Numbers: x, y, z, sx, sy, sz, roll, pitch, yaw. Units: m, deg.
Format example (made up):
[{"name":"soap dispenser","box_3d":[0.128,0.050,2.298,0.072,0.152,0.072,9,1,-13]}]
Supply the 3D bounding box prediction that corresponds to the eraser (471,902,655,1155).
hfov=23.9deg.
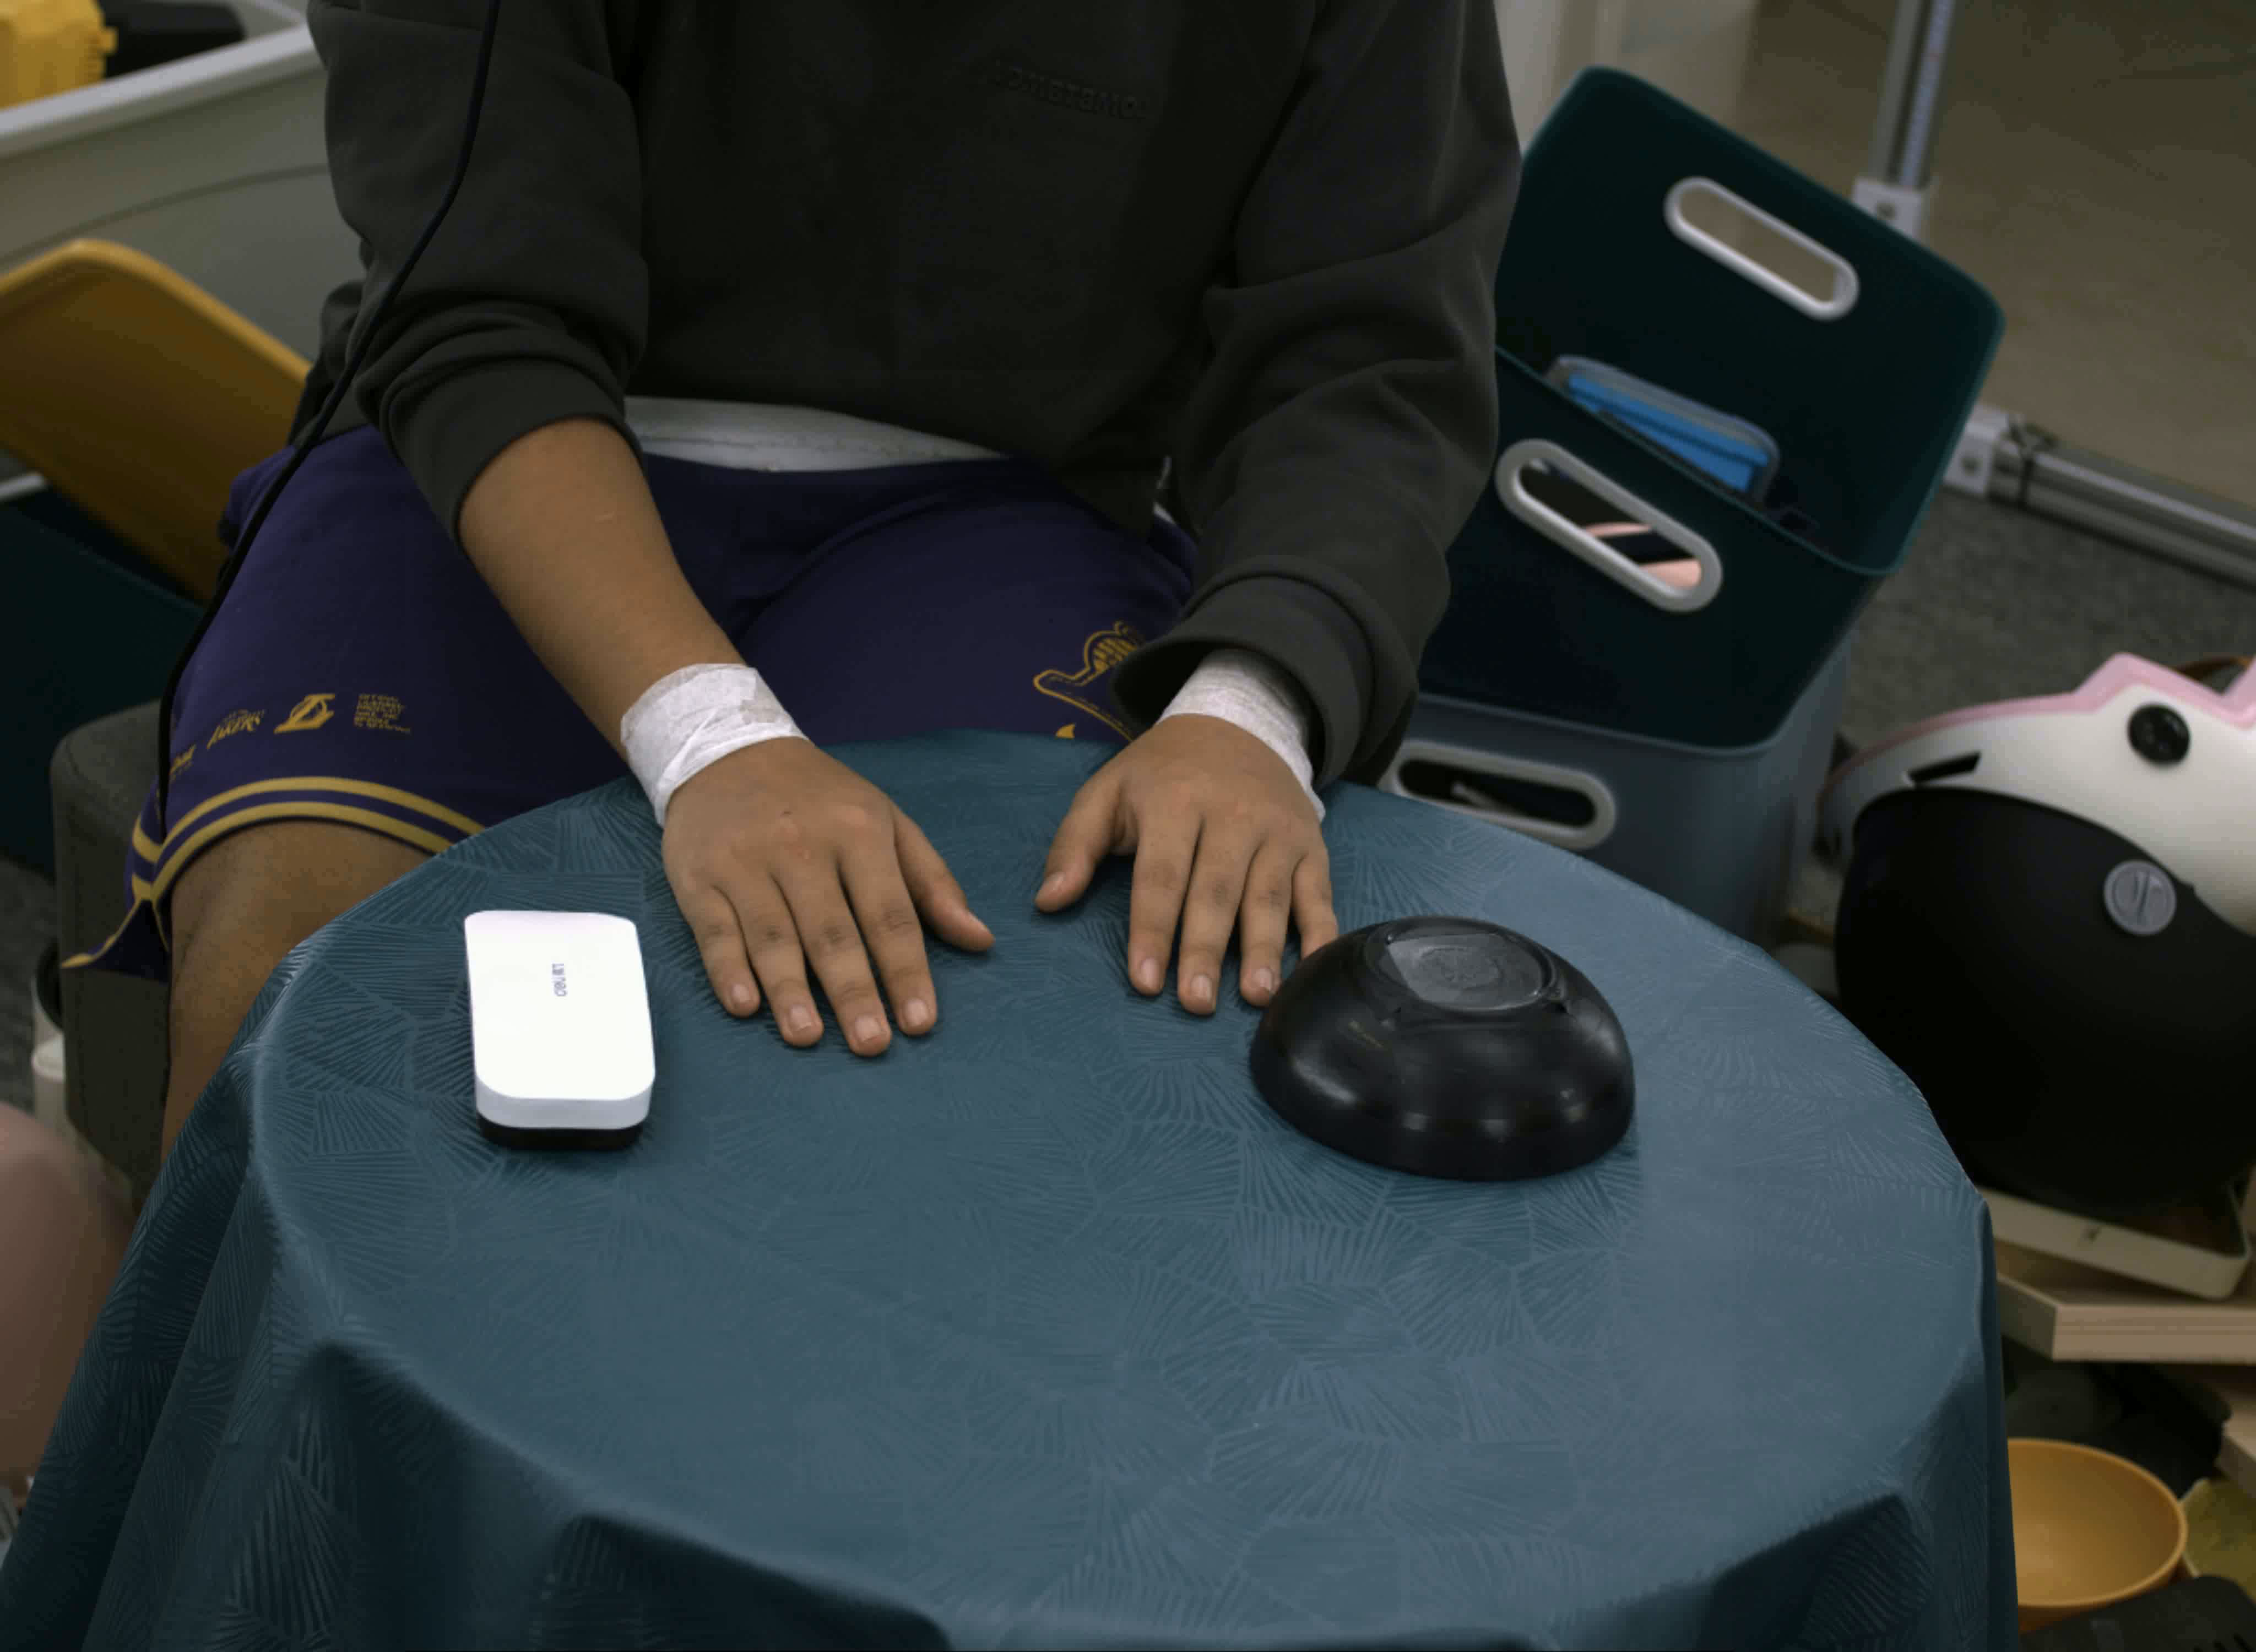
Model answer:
[{"name":"eraser","box_3d":[-0.195,0.066,1.835,0.063,0.034,0.132,4,29,-9]}]

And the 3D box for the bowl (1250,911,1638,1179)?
[{"name":"bowl","box_3d":[0.114,0.068,1.879,0.139,0.049,0.141,4,28,-3]}]
